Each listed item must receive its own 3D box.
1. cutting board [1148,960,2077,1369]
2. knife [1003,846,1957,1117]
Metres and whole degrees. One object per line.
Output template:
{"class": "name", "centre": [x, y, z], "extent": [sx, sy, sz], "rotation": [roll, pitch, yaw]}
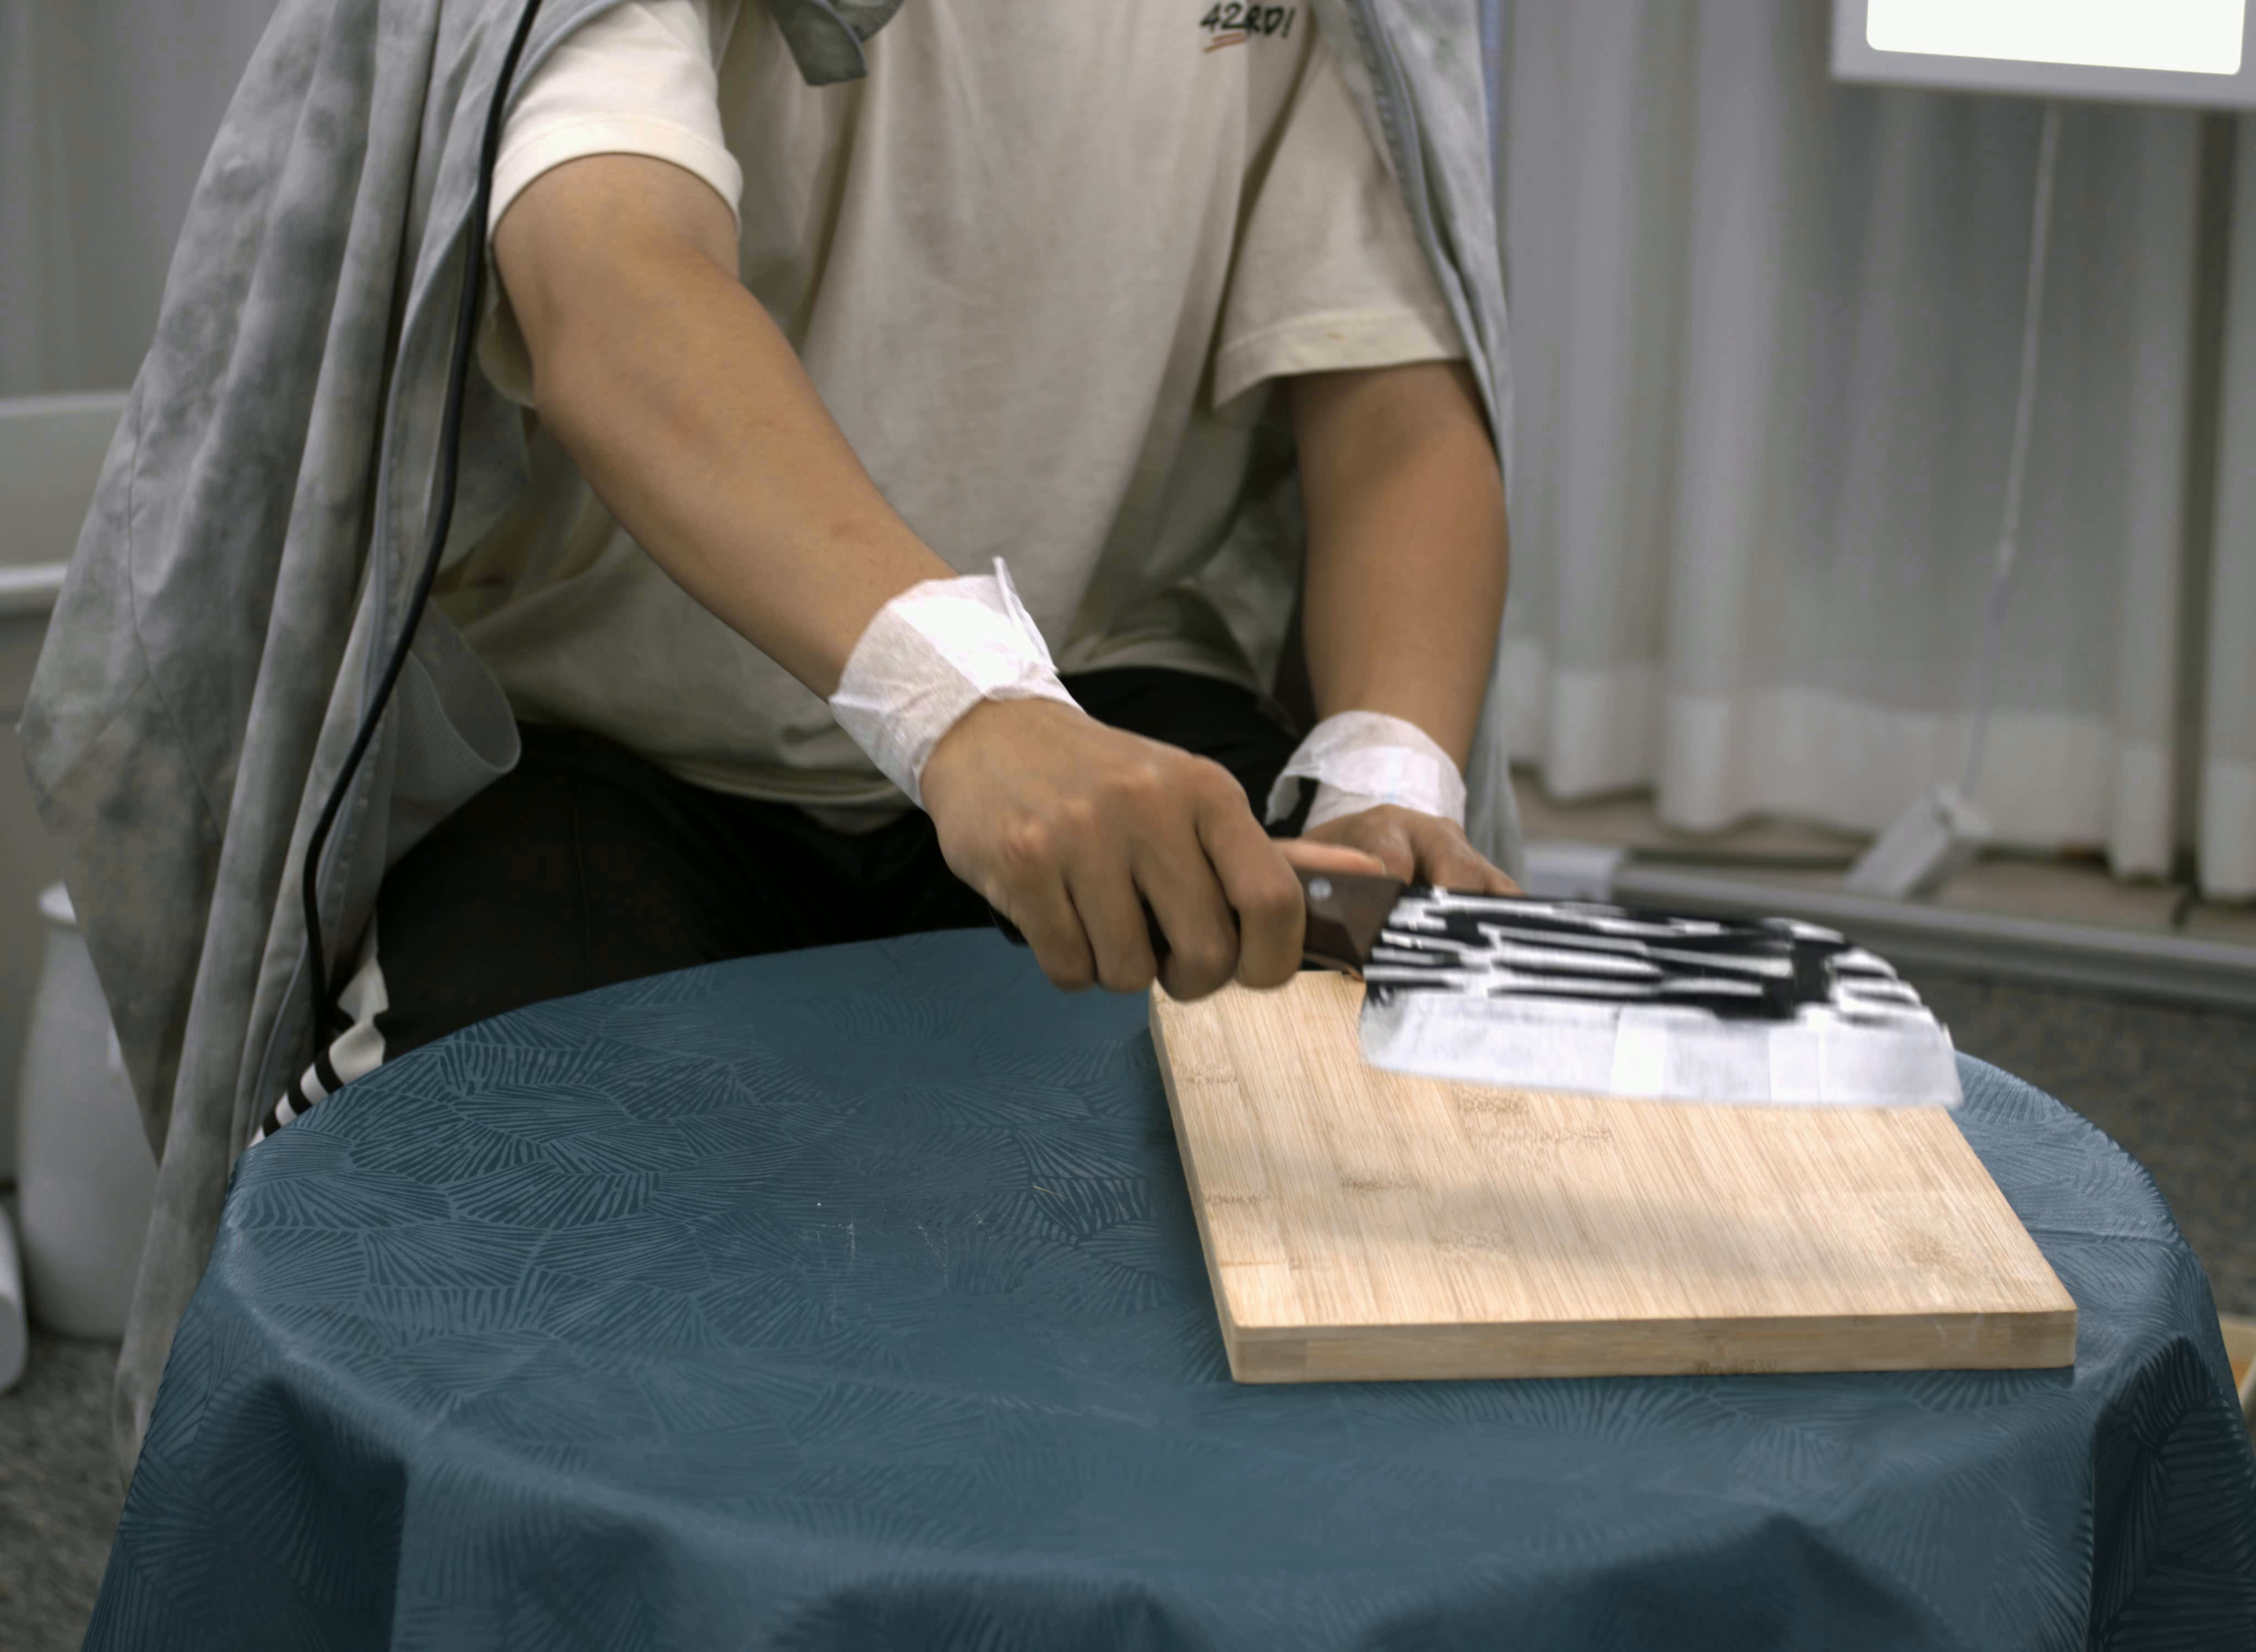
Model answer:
{"class": "cutting board", "centre": [0.138, 0.101, 1.643], "extent": [0.250, 0.024, 0.346], "rotation": [0, 15, -5]}
{"class": "knife", "centre": [0.097, 0.046, 1.533], "extent": [0.297, 0.024, 0.068], "rotation": [7, 55, 17]}
